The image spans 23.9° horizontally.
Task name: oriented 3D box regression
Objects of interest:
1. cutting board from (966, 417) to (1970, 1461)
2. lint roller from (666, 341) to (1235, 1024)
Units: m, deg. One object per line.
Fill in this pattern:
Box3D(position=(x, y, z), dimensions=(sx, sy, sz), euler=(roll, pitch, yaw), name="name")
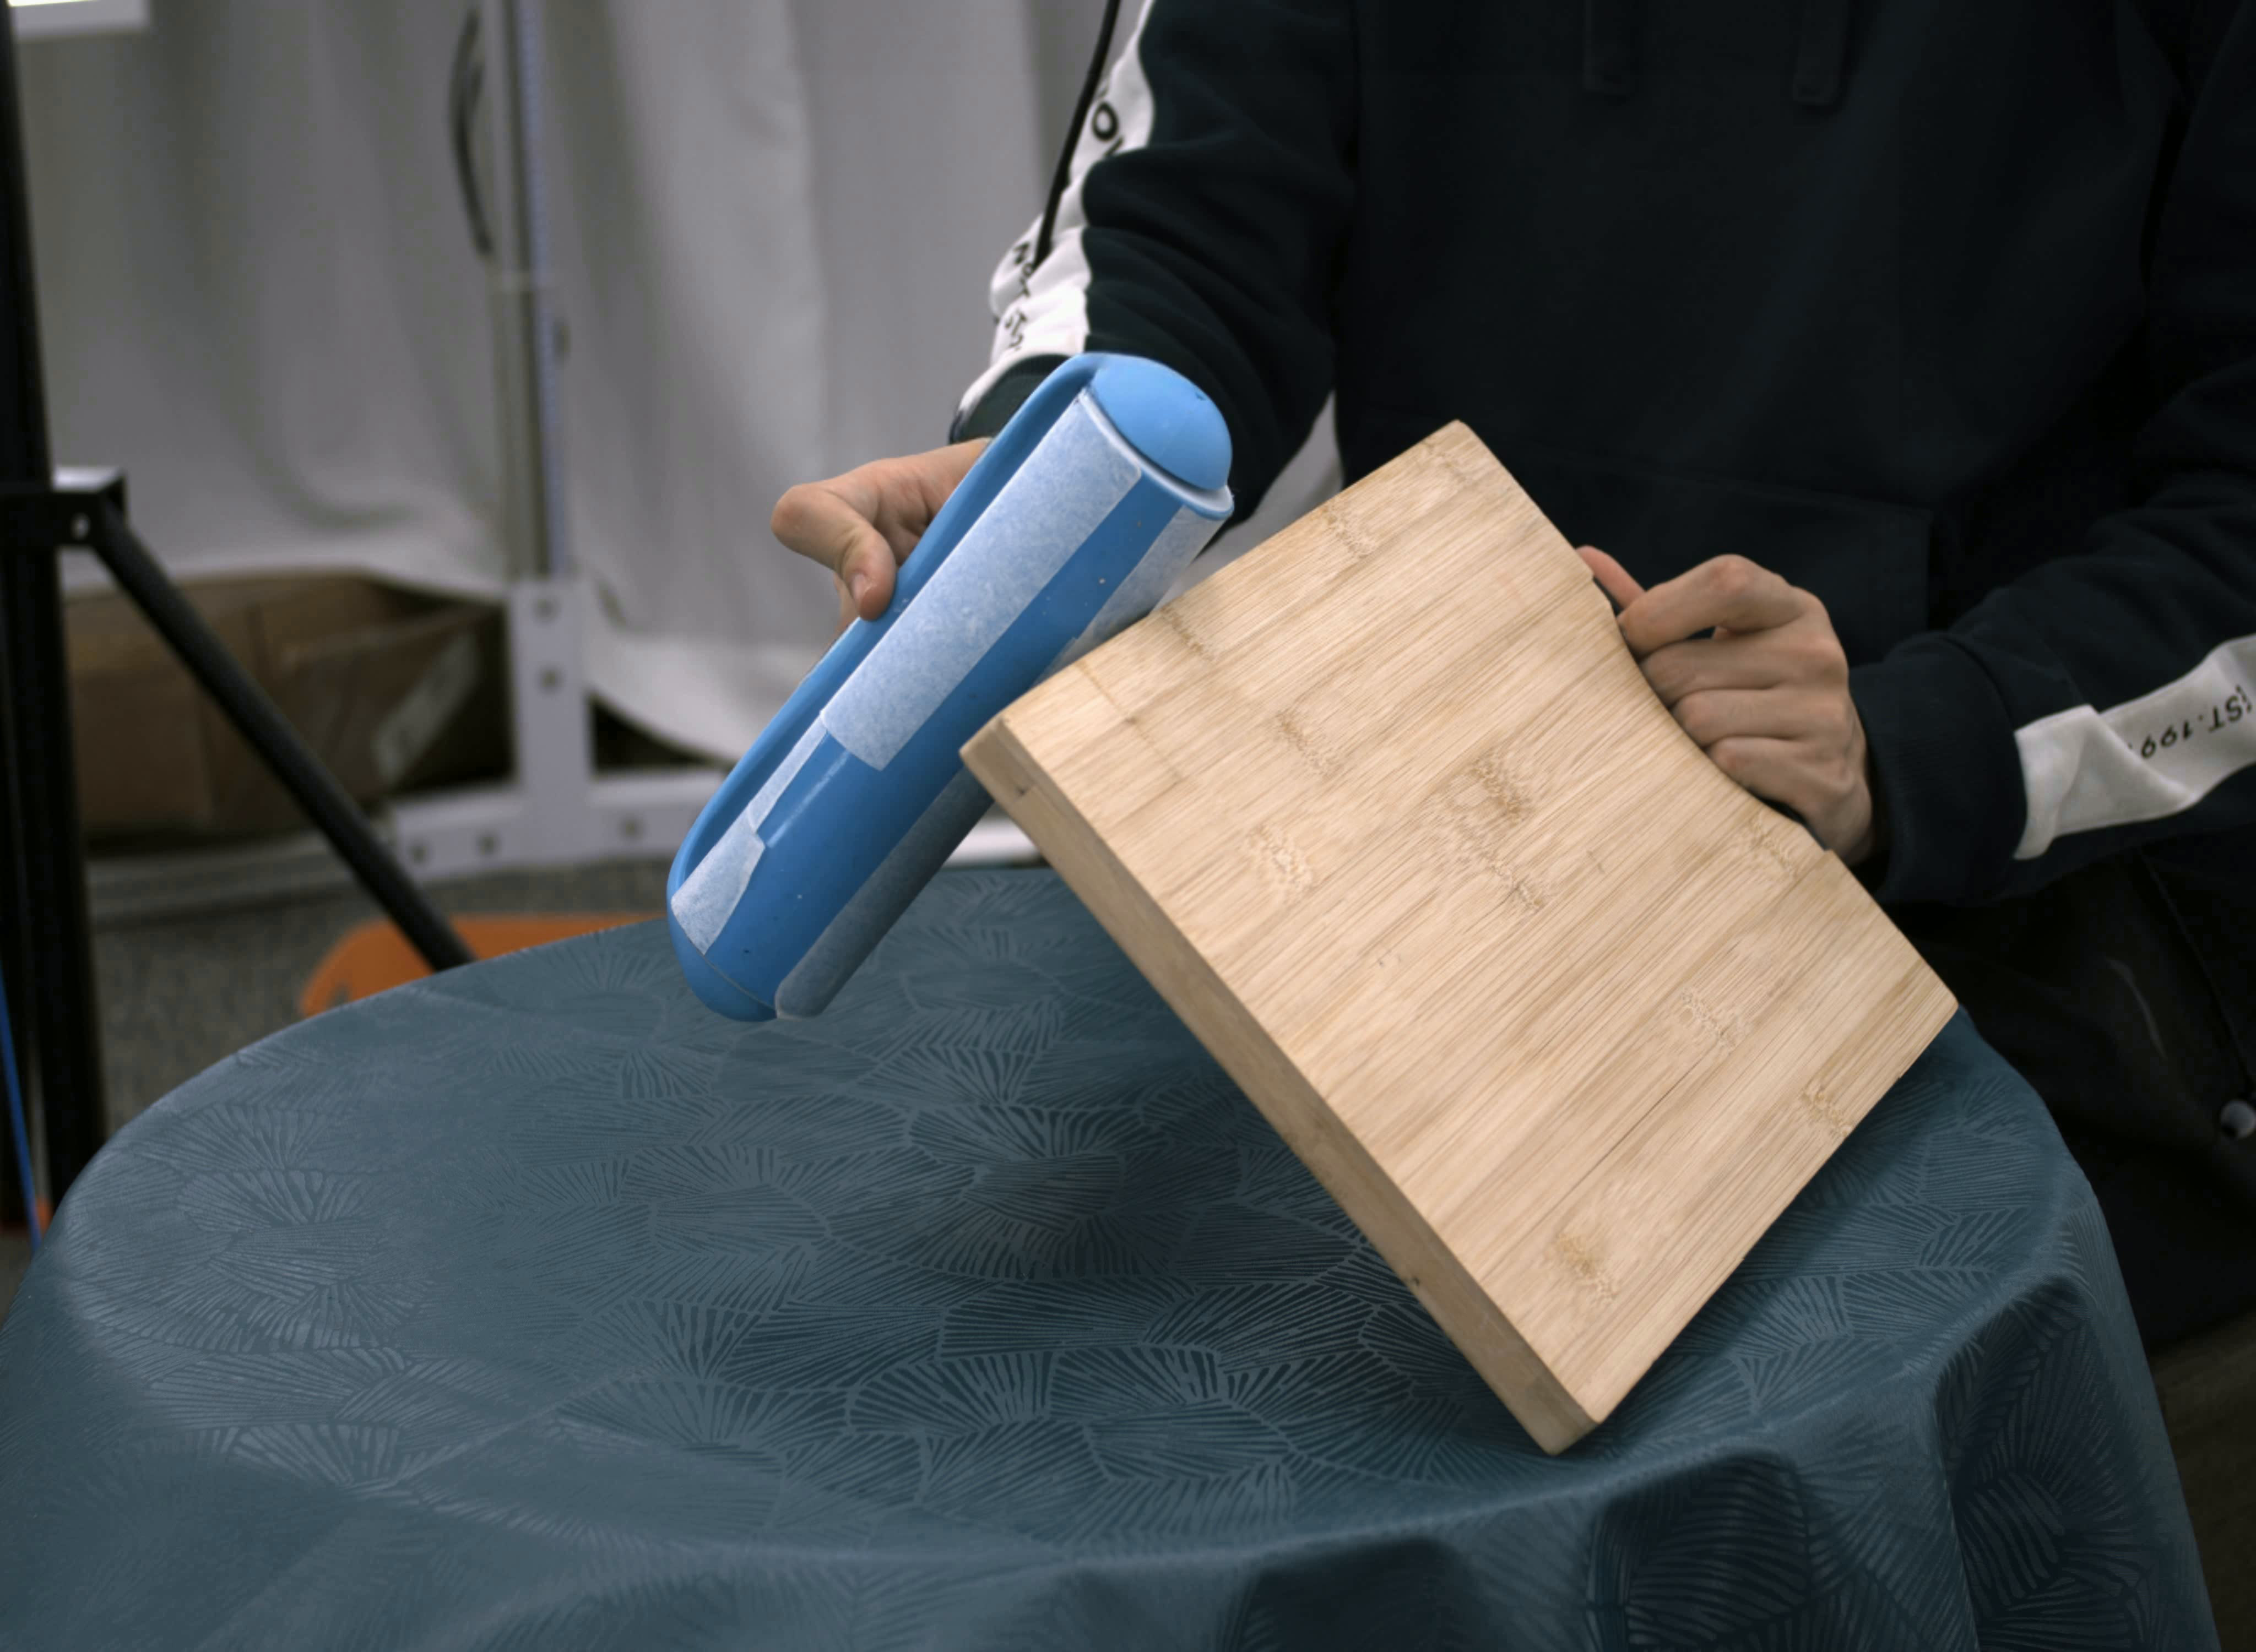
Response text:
Box3D(position=(0.107, 0.018, 1.501), dimensions=(0.024, 0.251, 0.344), euler=(-43, -4, 30), name="cutting board")
Box3D(position=(-0.044, -0.051, 1.532), dimensions=(0.067, 0.230, 0.180), euler=(37, 16, -5), name="lint roller")
